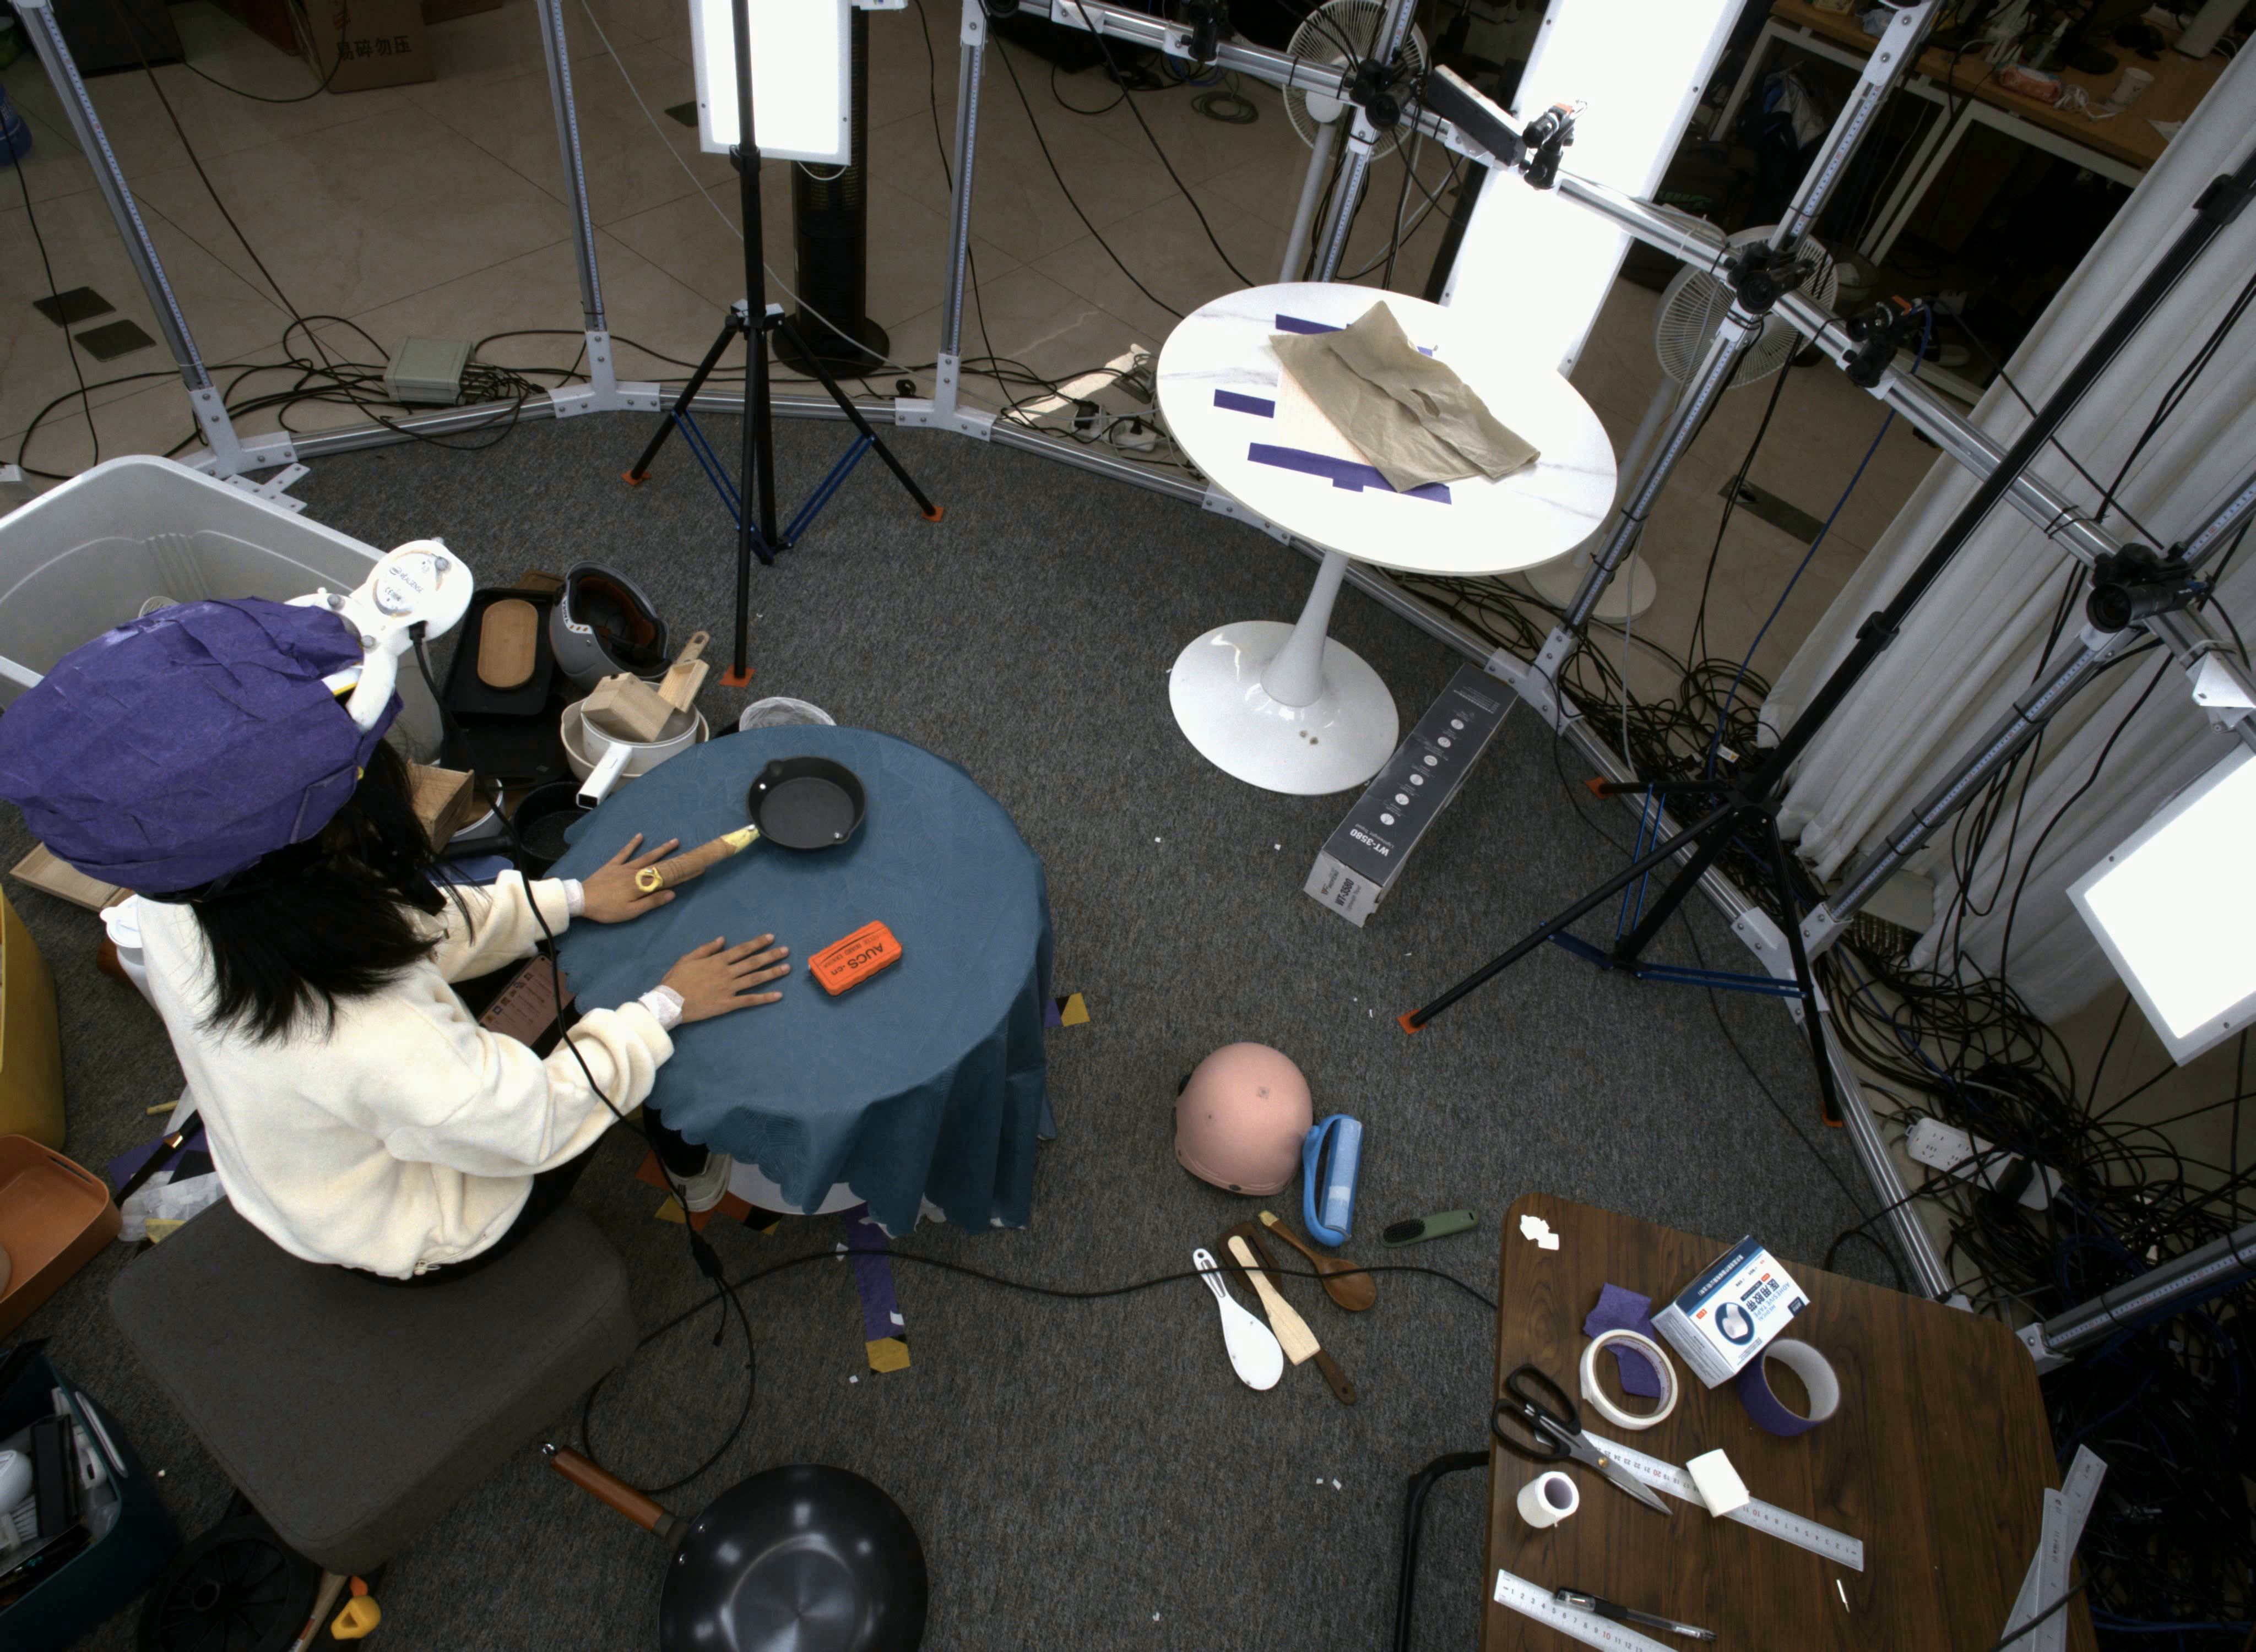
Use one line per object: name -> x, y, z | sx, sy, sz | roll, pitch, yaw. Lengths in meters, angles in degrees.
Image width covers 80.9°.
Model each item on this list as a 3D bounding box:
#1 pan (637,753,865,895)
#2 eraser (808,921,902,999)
pan -> -0.487, 0.007, 1.664 | 0.325, 0.050, 0.165 | -32, 67, -33
eraser -> -0.337, 0.162, 1.605 | 0.108, 0.023, 0.057 | -30, 66, -31
